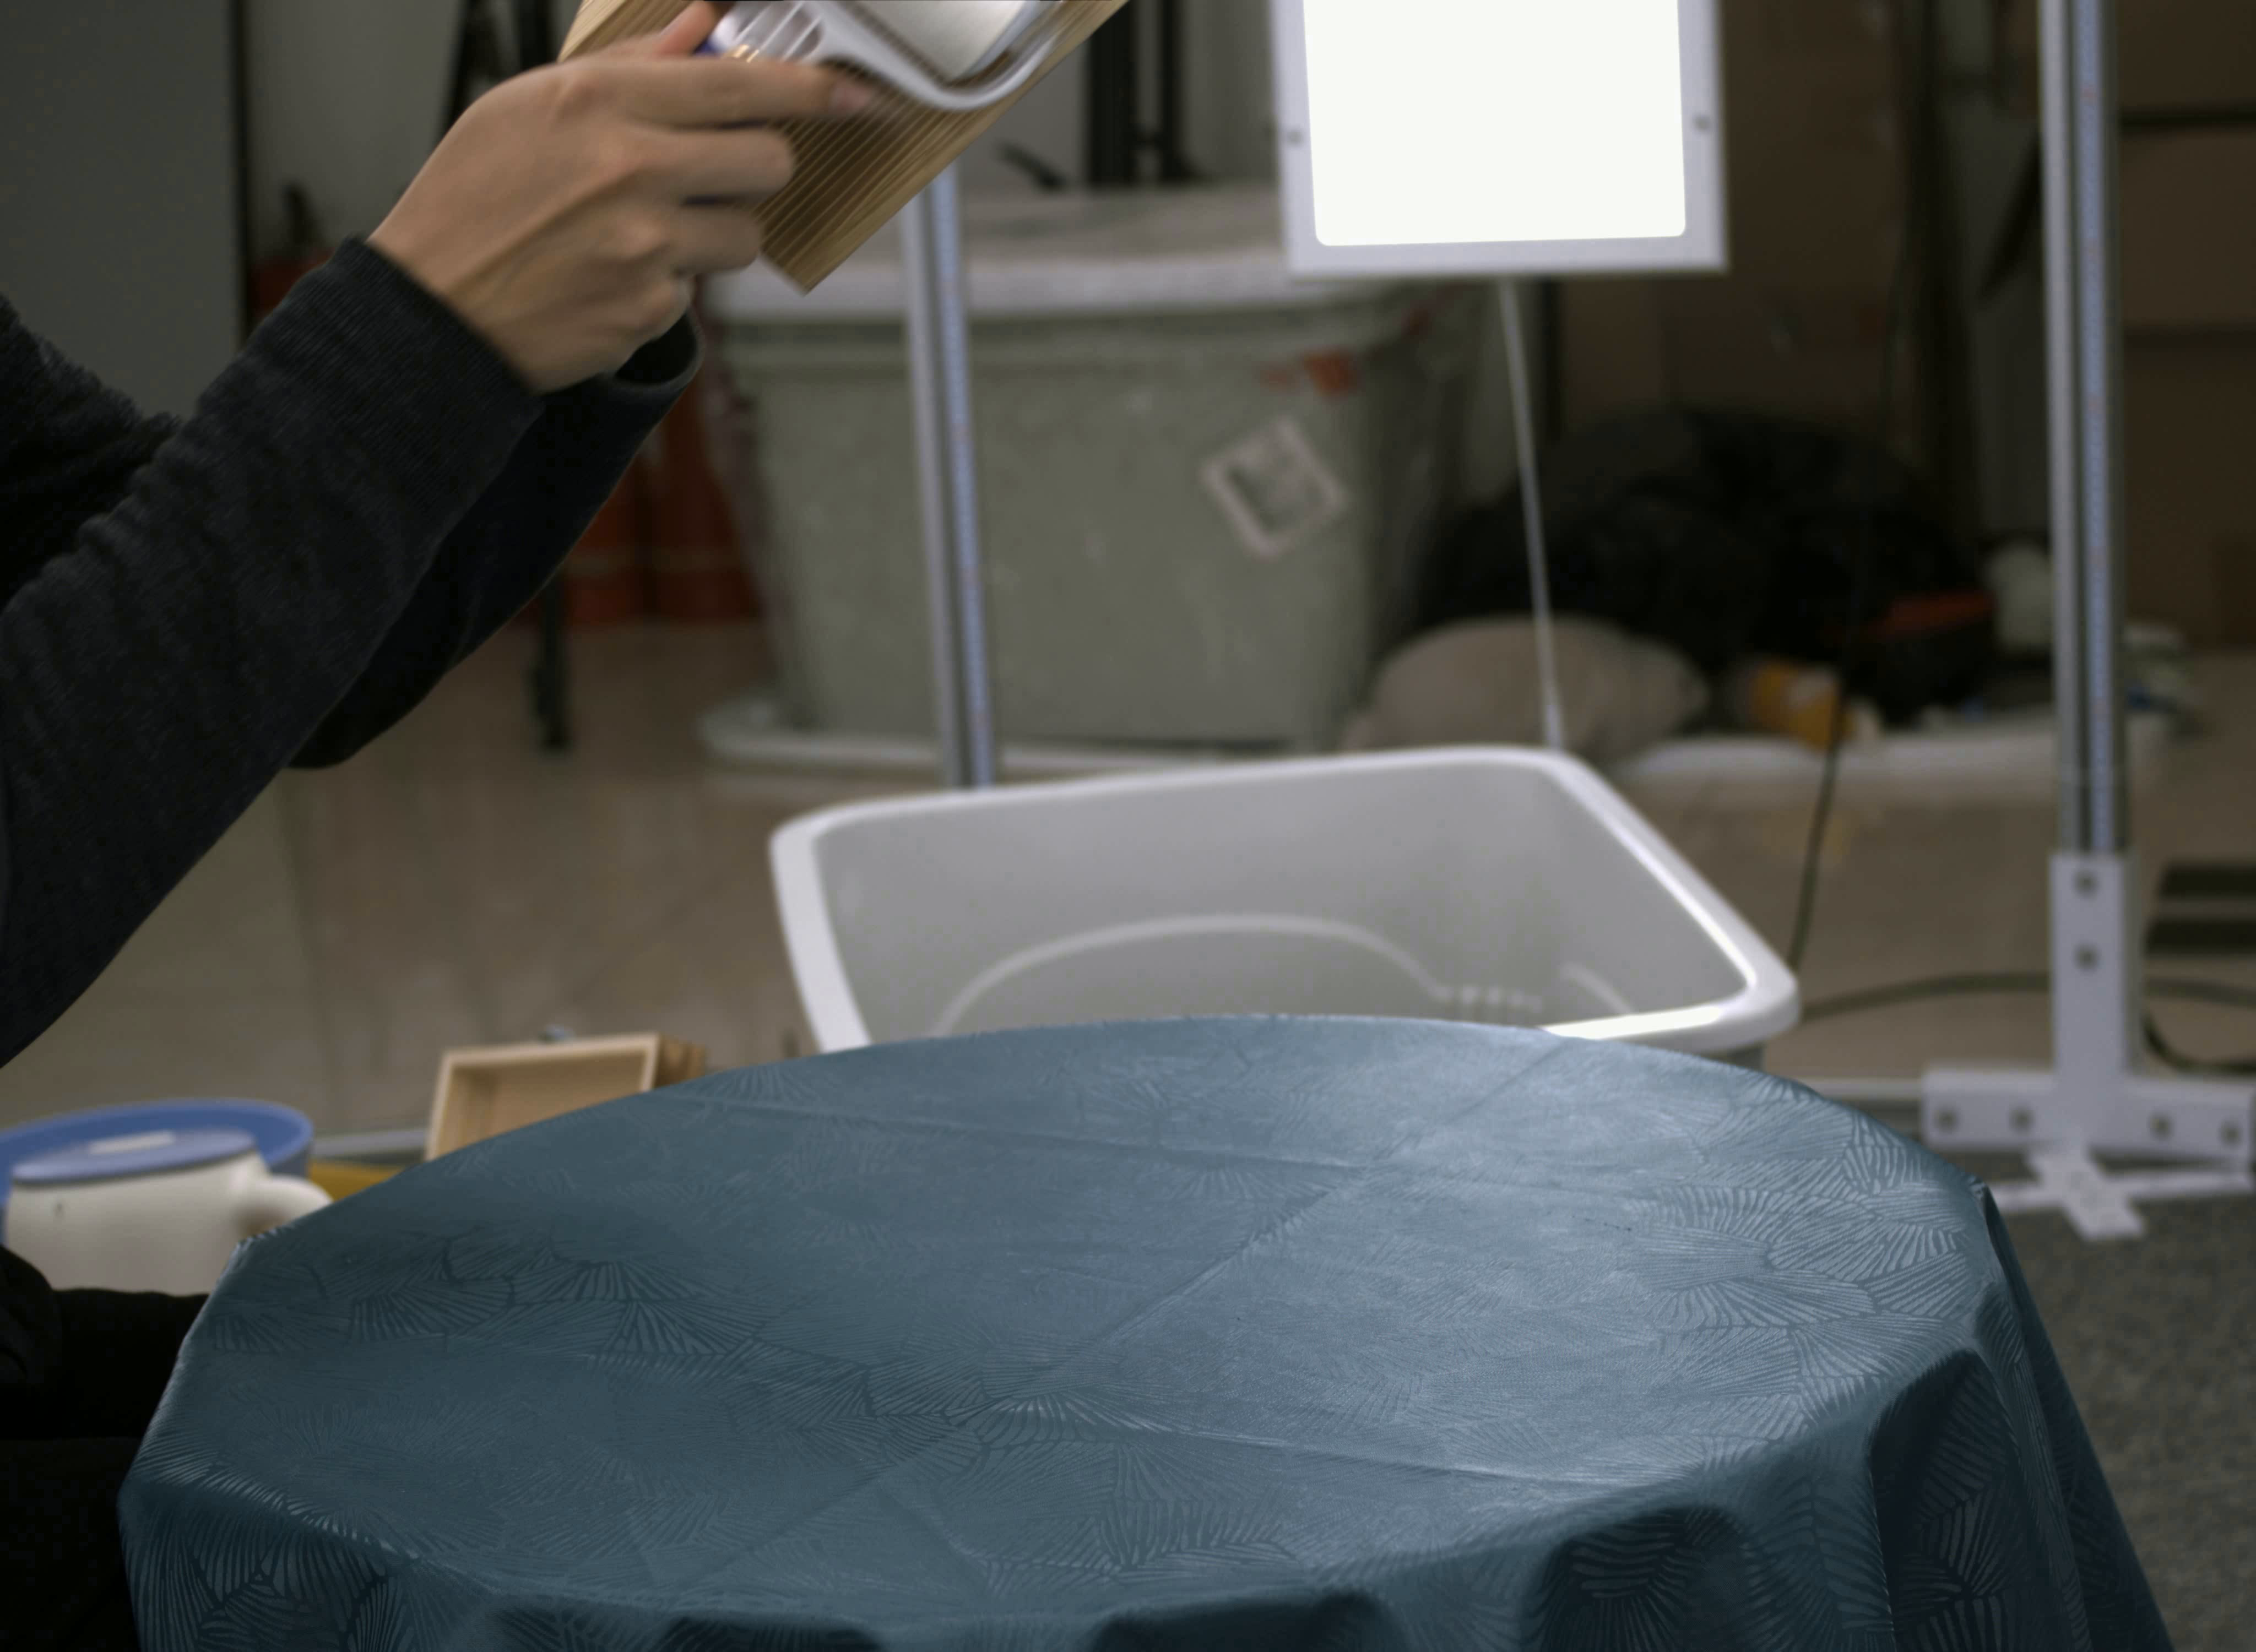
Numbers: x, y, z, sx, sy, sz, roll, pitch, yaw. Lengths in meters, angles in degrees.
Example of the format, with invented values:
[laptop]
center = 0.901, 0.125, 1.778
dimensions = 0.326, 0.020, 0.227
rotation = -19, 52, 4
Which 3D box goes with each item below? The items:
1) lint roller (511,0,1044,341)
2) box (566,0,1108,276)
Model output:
[lint roller]
center = -0.123, -0.215, 1.621
dimensions = 0.132, 0.181, 0.050
rotation = 39, 5, -15
[box]
center = -0.057, -0.284, 1.672
dimensions = 0.215, 0.106, 0.079
rotation = -40, 19, 25
